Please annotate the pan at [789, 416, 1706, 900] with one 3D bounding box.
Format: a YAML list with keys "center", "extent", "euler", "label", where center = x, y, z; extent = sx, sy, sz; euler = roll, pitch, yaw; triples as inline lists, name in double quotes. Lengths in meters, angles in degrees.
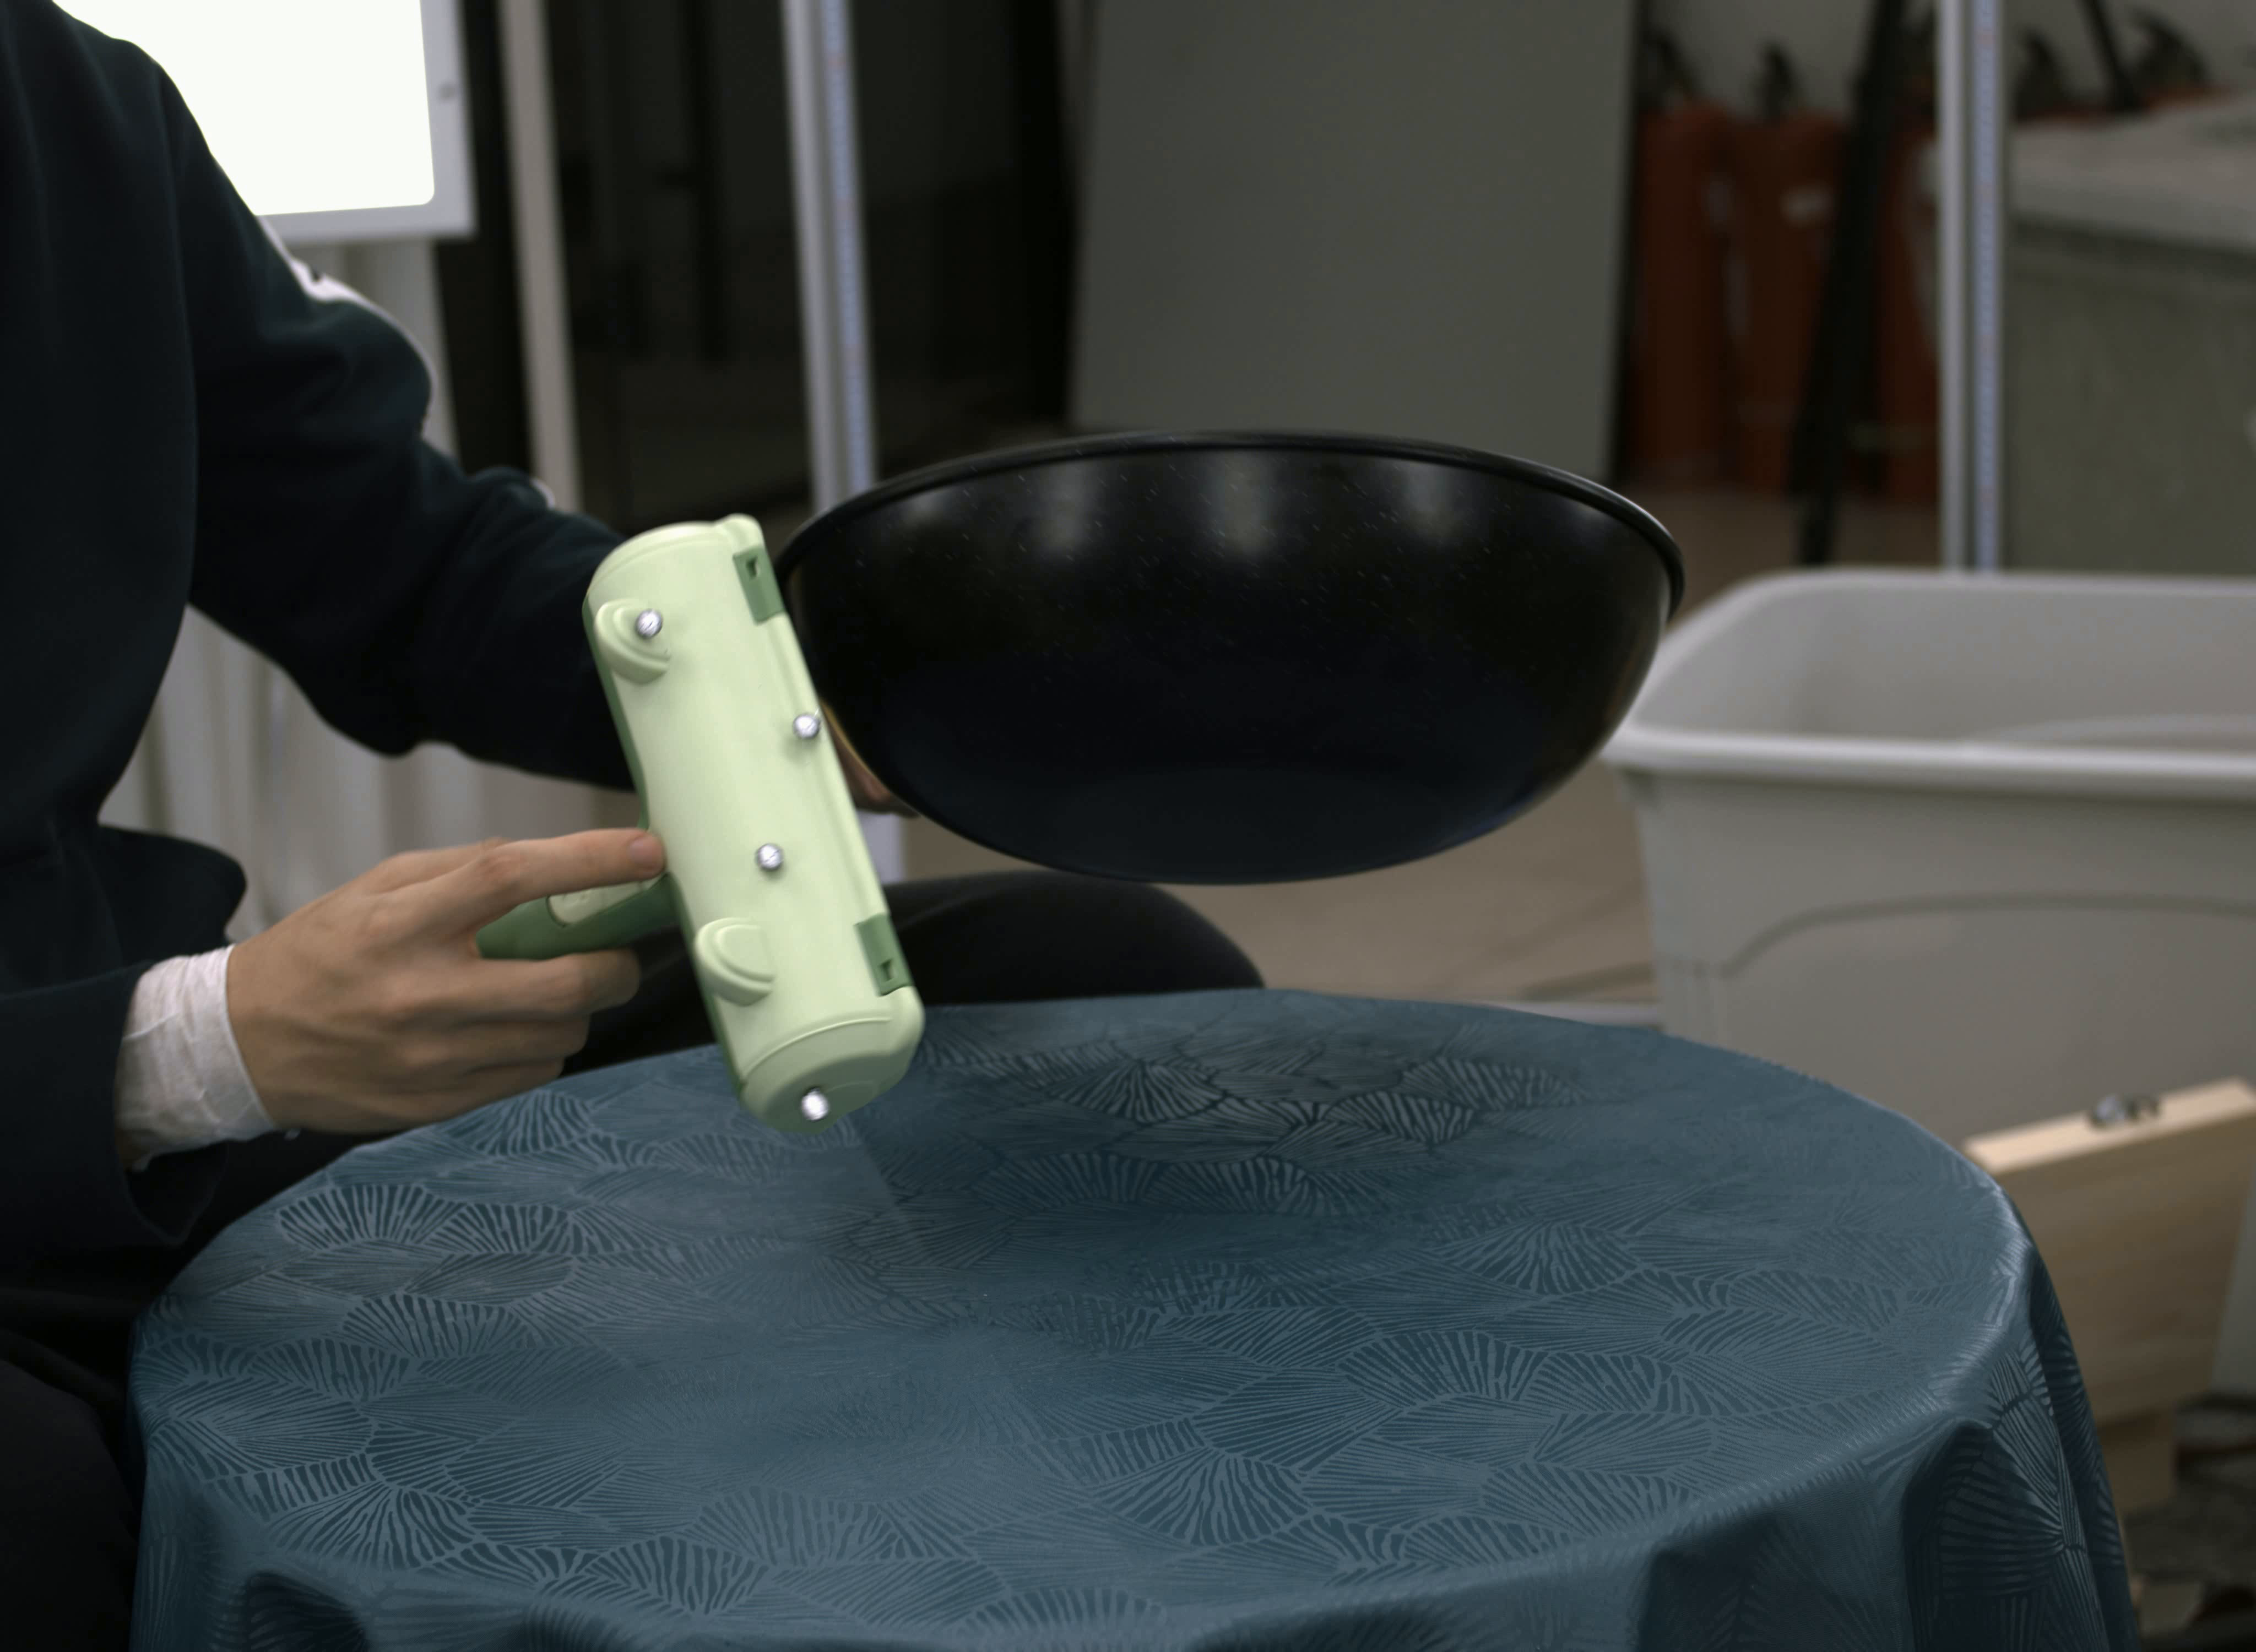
- center: [-0.006, -0.030, 1.862]
  extent: [0.303, 0.113, 0.481]
  euler: [12, -20, -31]
  label: "pan"

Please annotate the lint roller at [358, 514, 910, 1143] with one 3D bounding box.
- center: [-0.170, 0.020, 1.663]
  extent: [0.183, 0.201, 0.081]
  euler: [-25, -29, 11]
  label: "lint roller"
